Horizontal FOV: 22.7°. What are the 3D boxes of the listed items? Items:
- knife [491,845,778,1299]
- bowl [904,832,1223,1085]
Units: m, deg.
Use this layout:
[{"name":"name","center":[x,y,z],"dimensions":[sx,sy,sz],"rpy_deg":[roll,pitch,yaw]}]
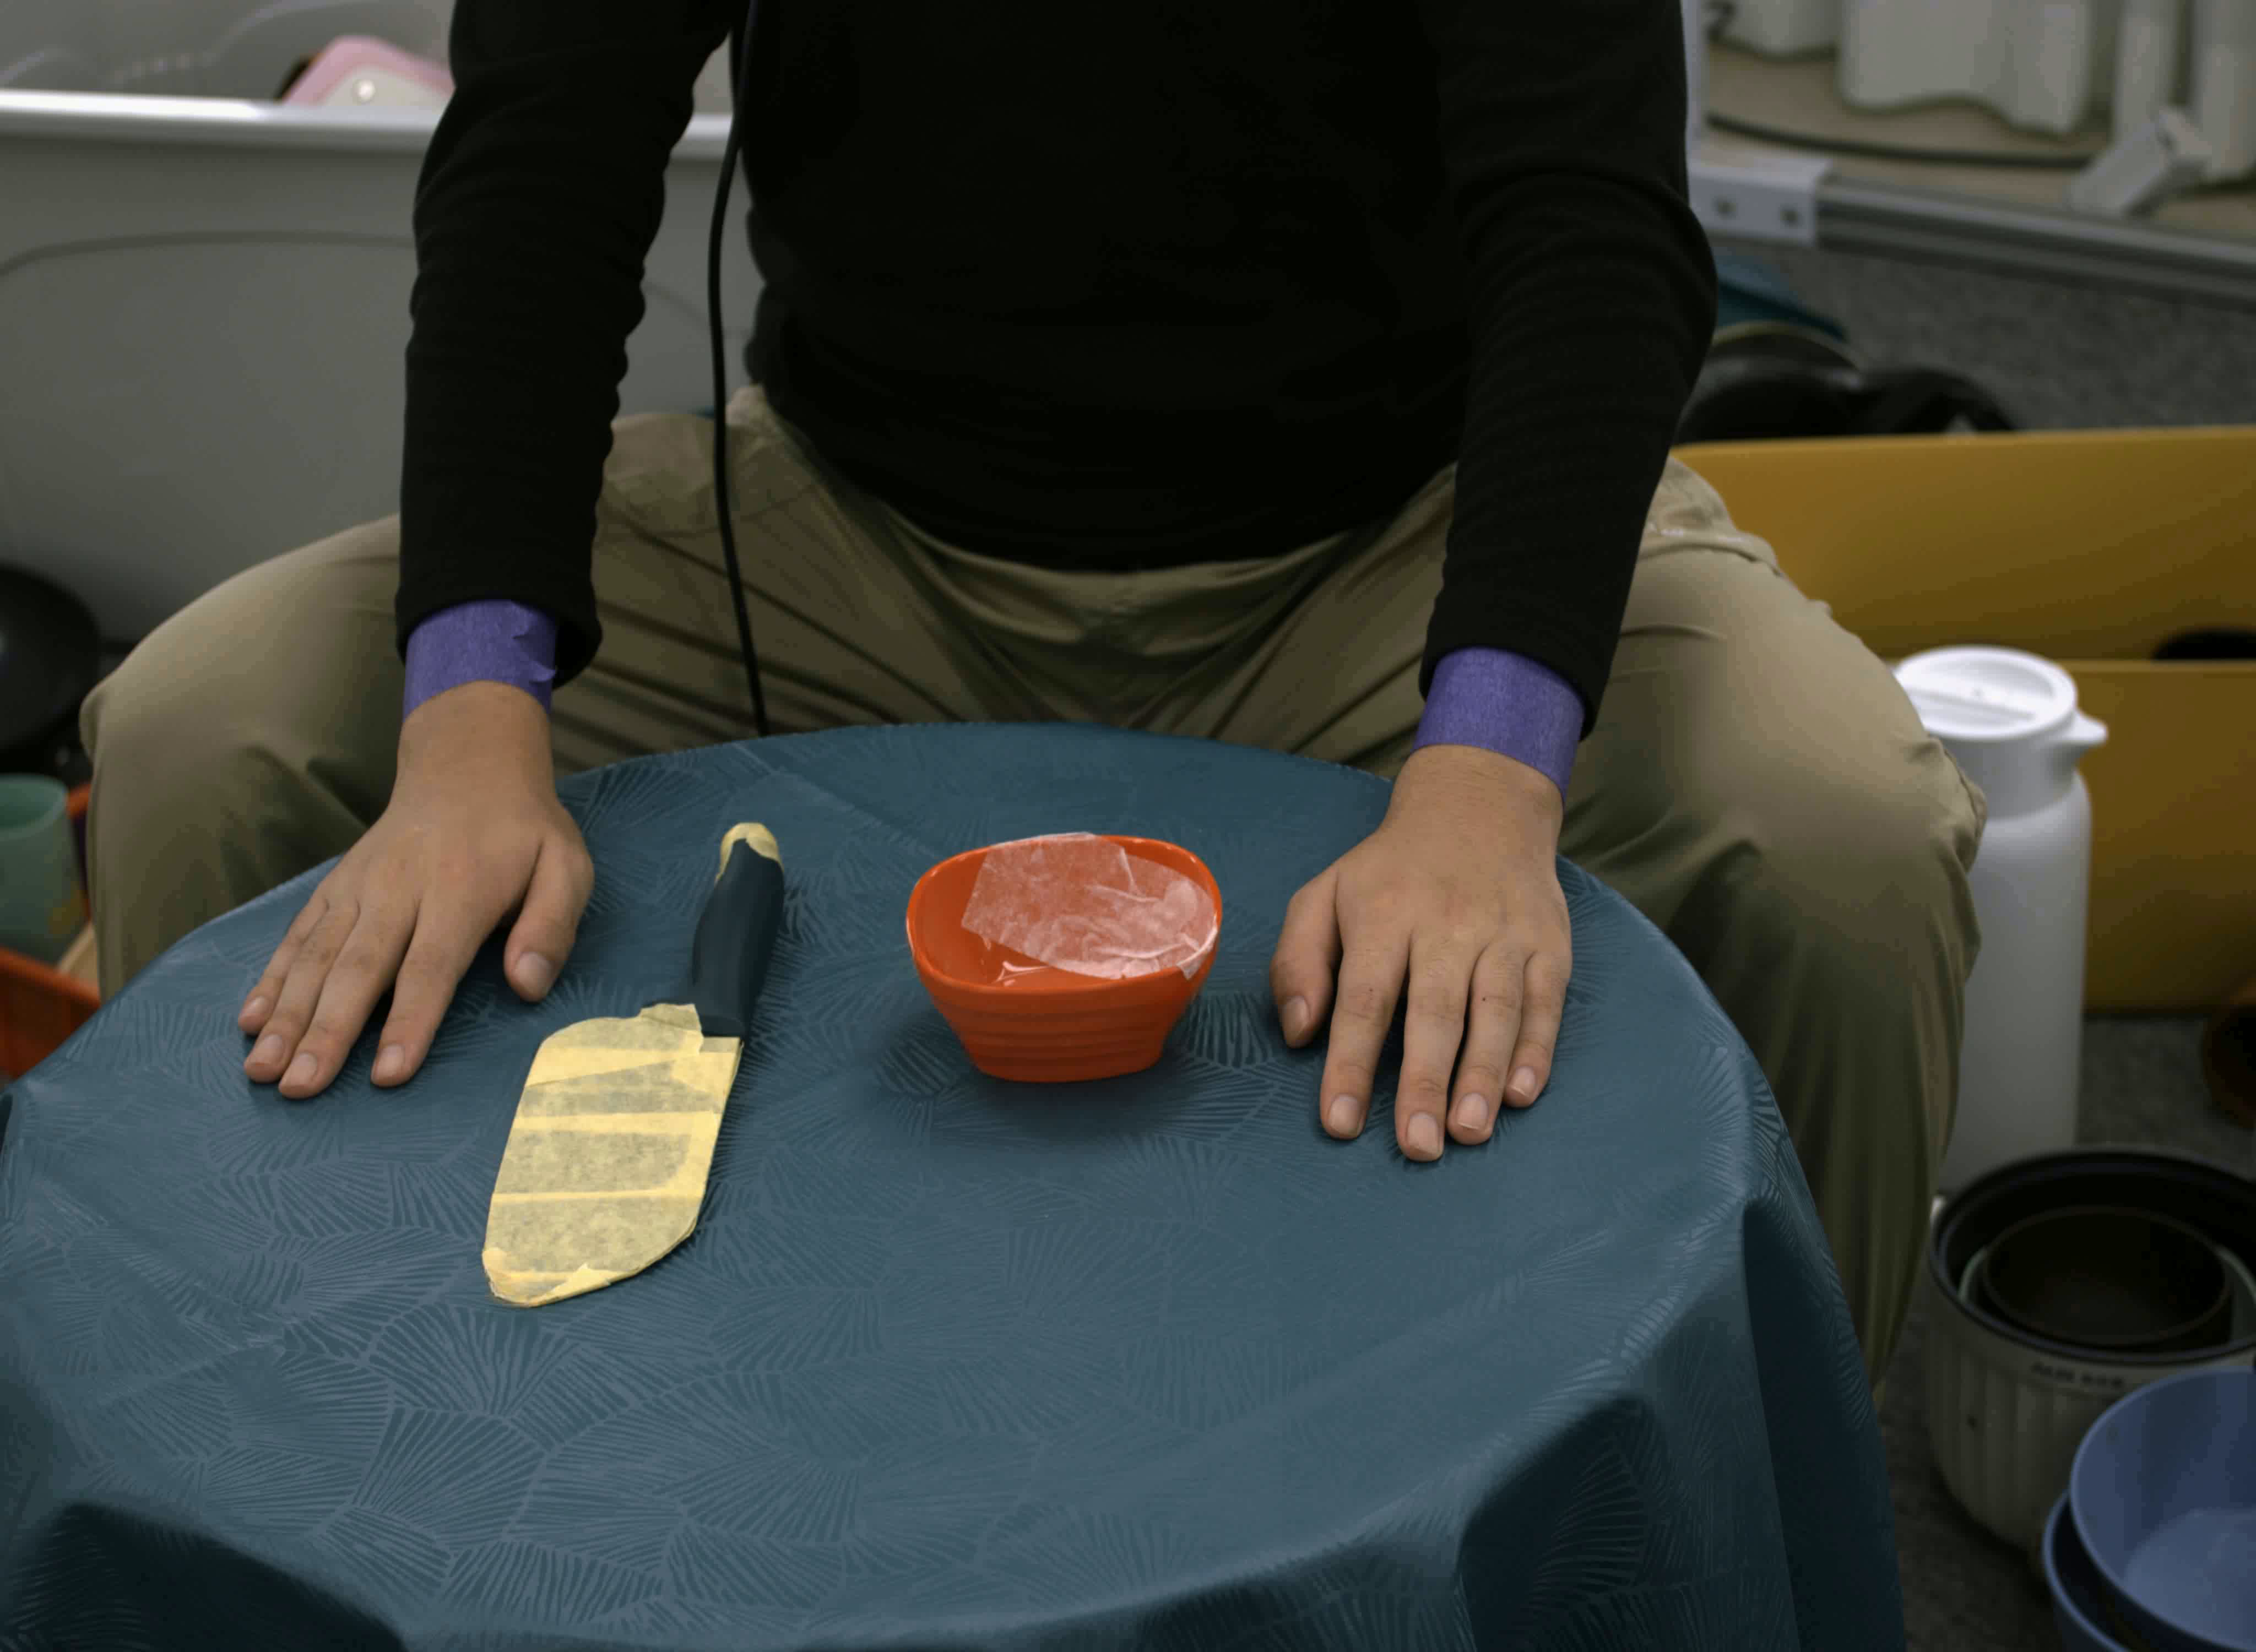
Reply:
[{"name":"knife","center":[-0.167,0.083,1.935],"dimensions":[0.080,0.027,0.294],"rpy_deg":[3,29,7]},{"name":"bowl","center":[-0.021,0.050,1.943],"dimensions":[0.118,0.051,0.121],"rpy_deg":[-3,28,2]}]
